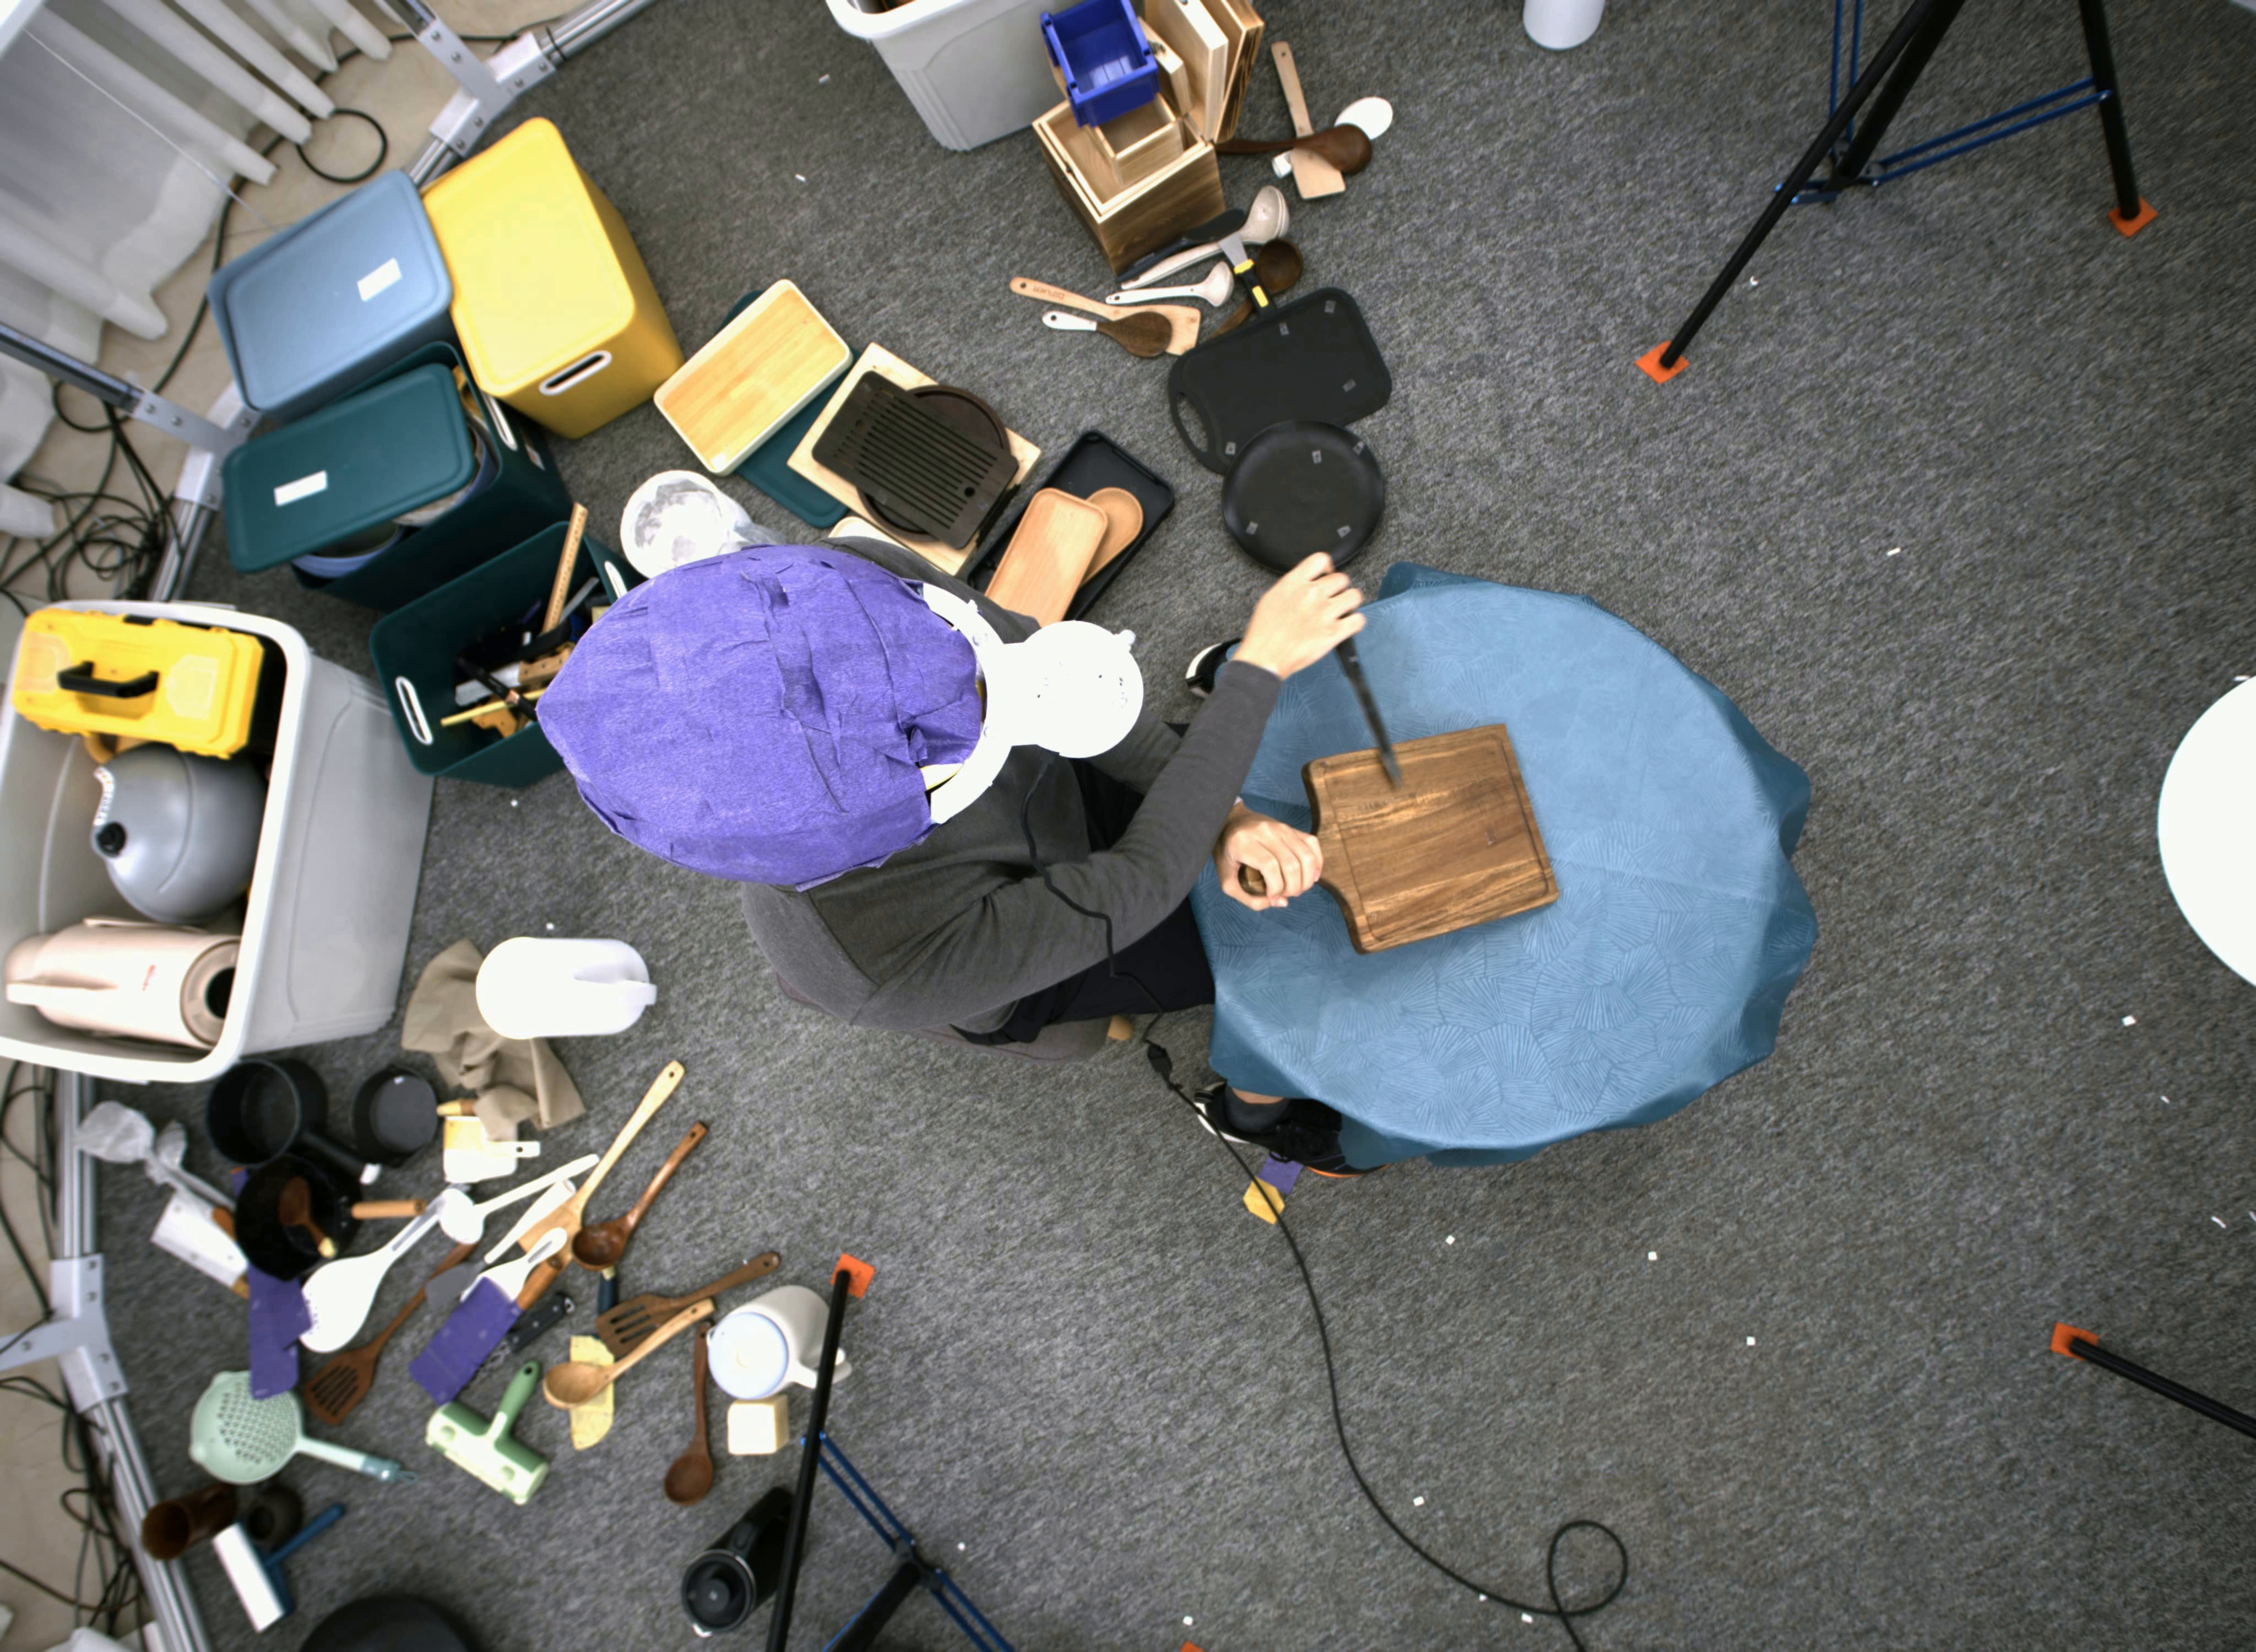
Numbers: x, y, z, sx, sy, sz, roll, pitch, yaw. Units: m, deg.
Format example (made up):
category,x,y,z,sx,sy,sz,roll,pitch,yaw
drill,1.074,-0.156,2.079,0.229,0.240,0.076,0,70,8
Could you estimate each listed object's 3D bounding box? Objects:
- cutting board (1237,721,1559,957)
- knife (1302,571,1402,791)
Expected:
category,x,y,z,sx,sy,sz,roll,pitch,yaw
cutting board,0.261,0.016,1.361,0.349,0.023,0.200,-13,83,-23
knife,0.224,-0.145,1.370,0.024,0.016,0.237,-20,87,-30
